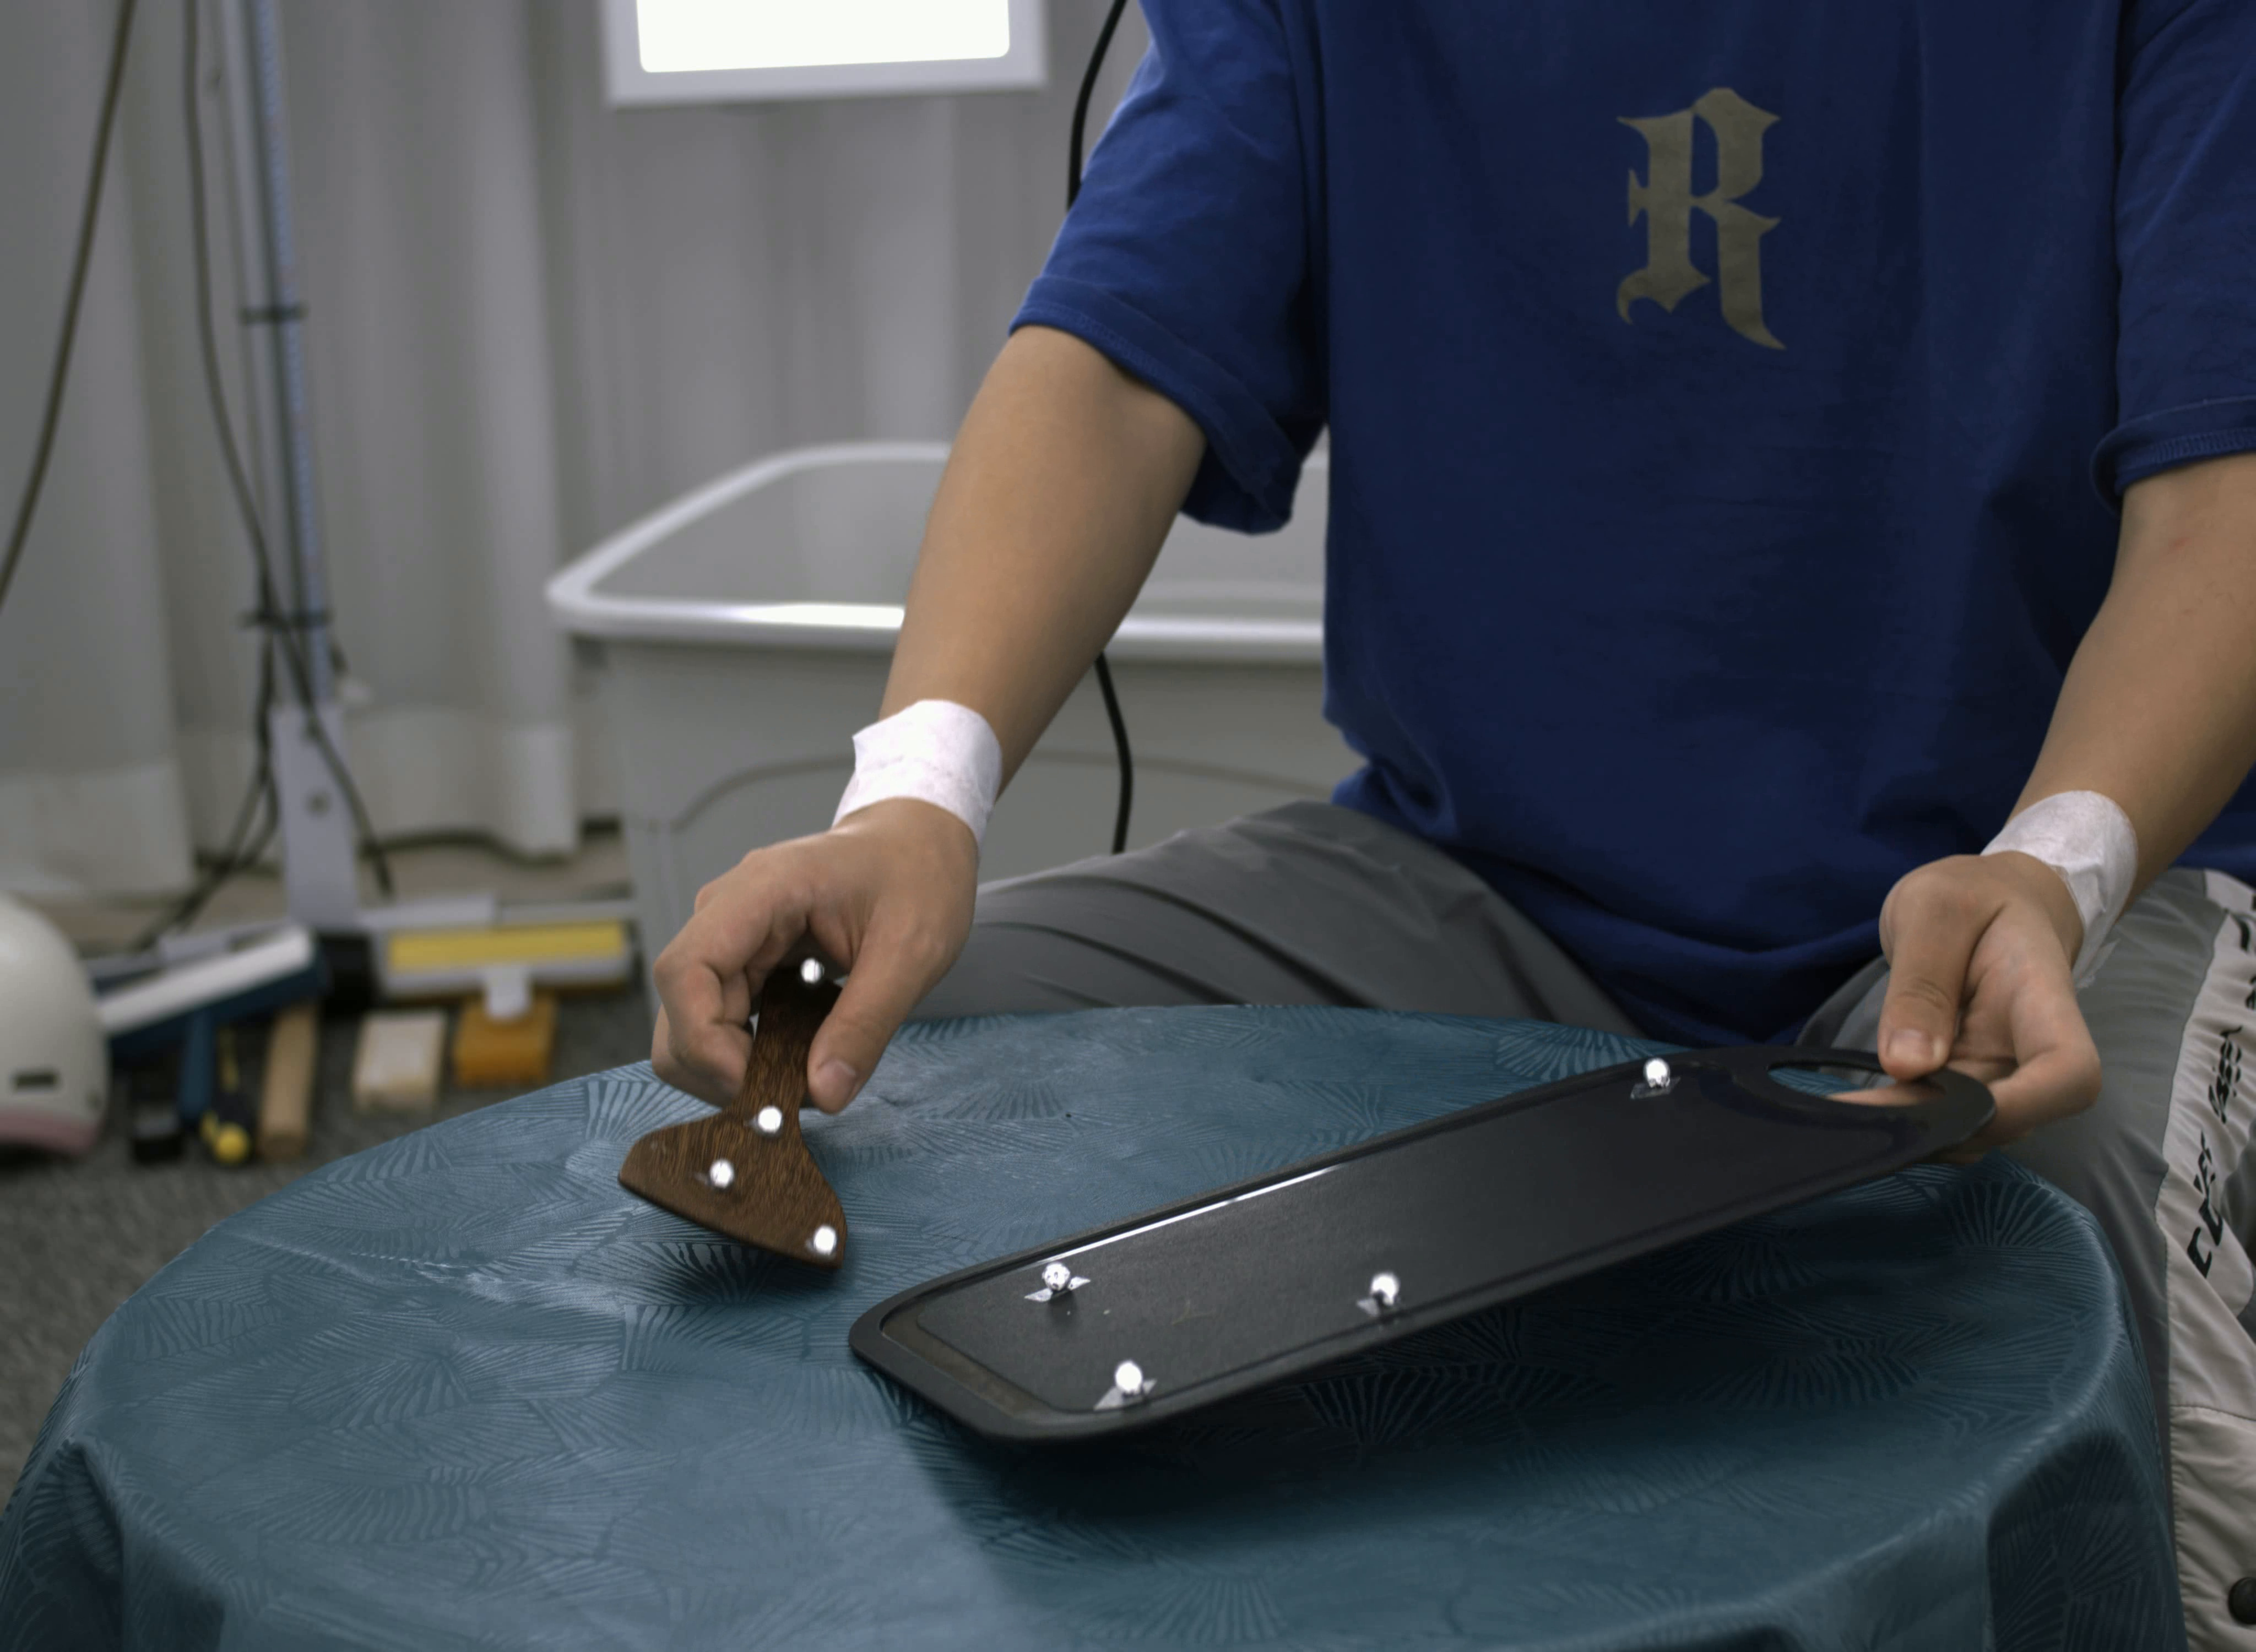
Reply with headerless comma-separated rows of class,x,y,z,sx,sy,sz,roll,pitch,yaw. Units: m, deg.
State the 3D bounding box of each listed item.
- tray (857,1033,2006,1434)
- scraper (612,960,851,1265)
tray,0.090,0.109,1.567,0.324,0.010,0.212,-17,10,-17
scraper,-0.113,0.085,1.724,0.075,0.011,0.213,23,20,-4
